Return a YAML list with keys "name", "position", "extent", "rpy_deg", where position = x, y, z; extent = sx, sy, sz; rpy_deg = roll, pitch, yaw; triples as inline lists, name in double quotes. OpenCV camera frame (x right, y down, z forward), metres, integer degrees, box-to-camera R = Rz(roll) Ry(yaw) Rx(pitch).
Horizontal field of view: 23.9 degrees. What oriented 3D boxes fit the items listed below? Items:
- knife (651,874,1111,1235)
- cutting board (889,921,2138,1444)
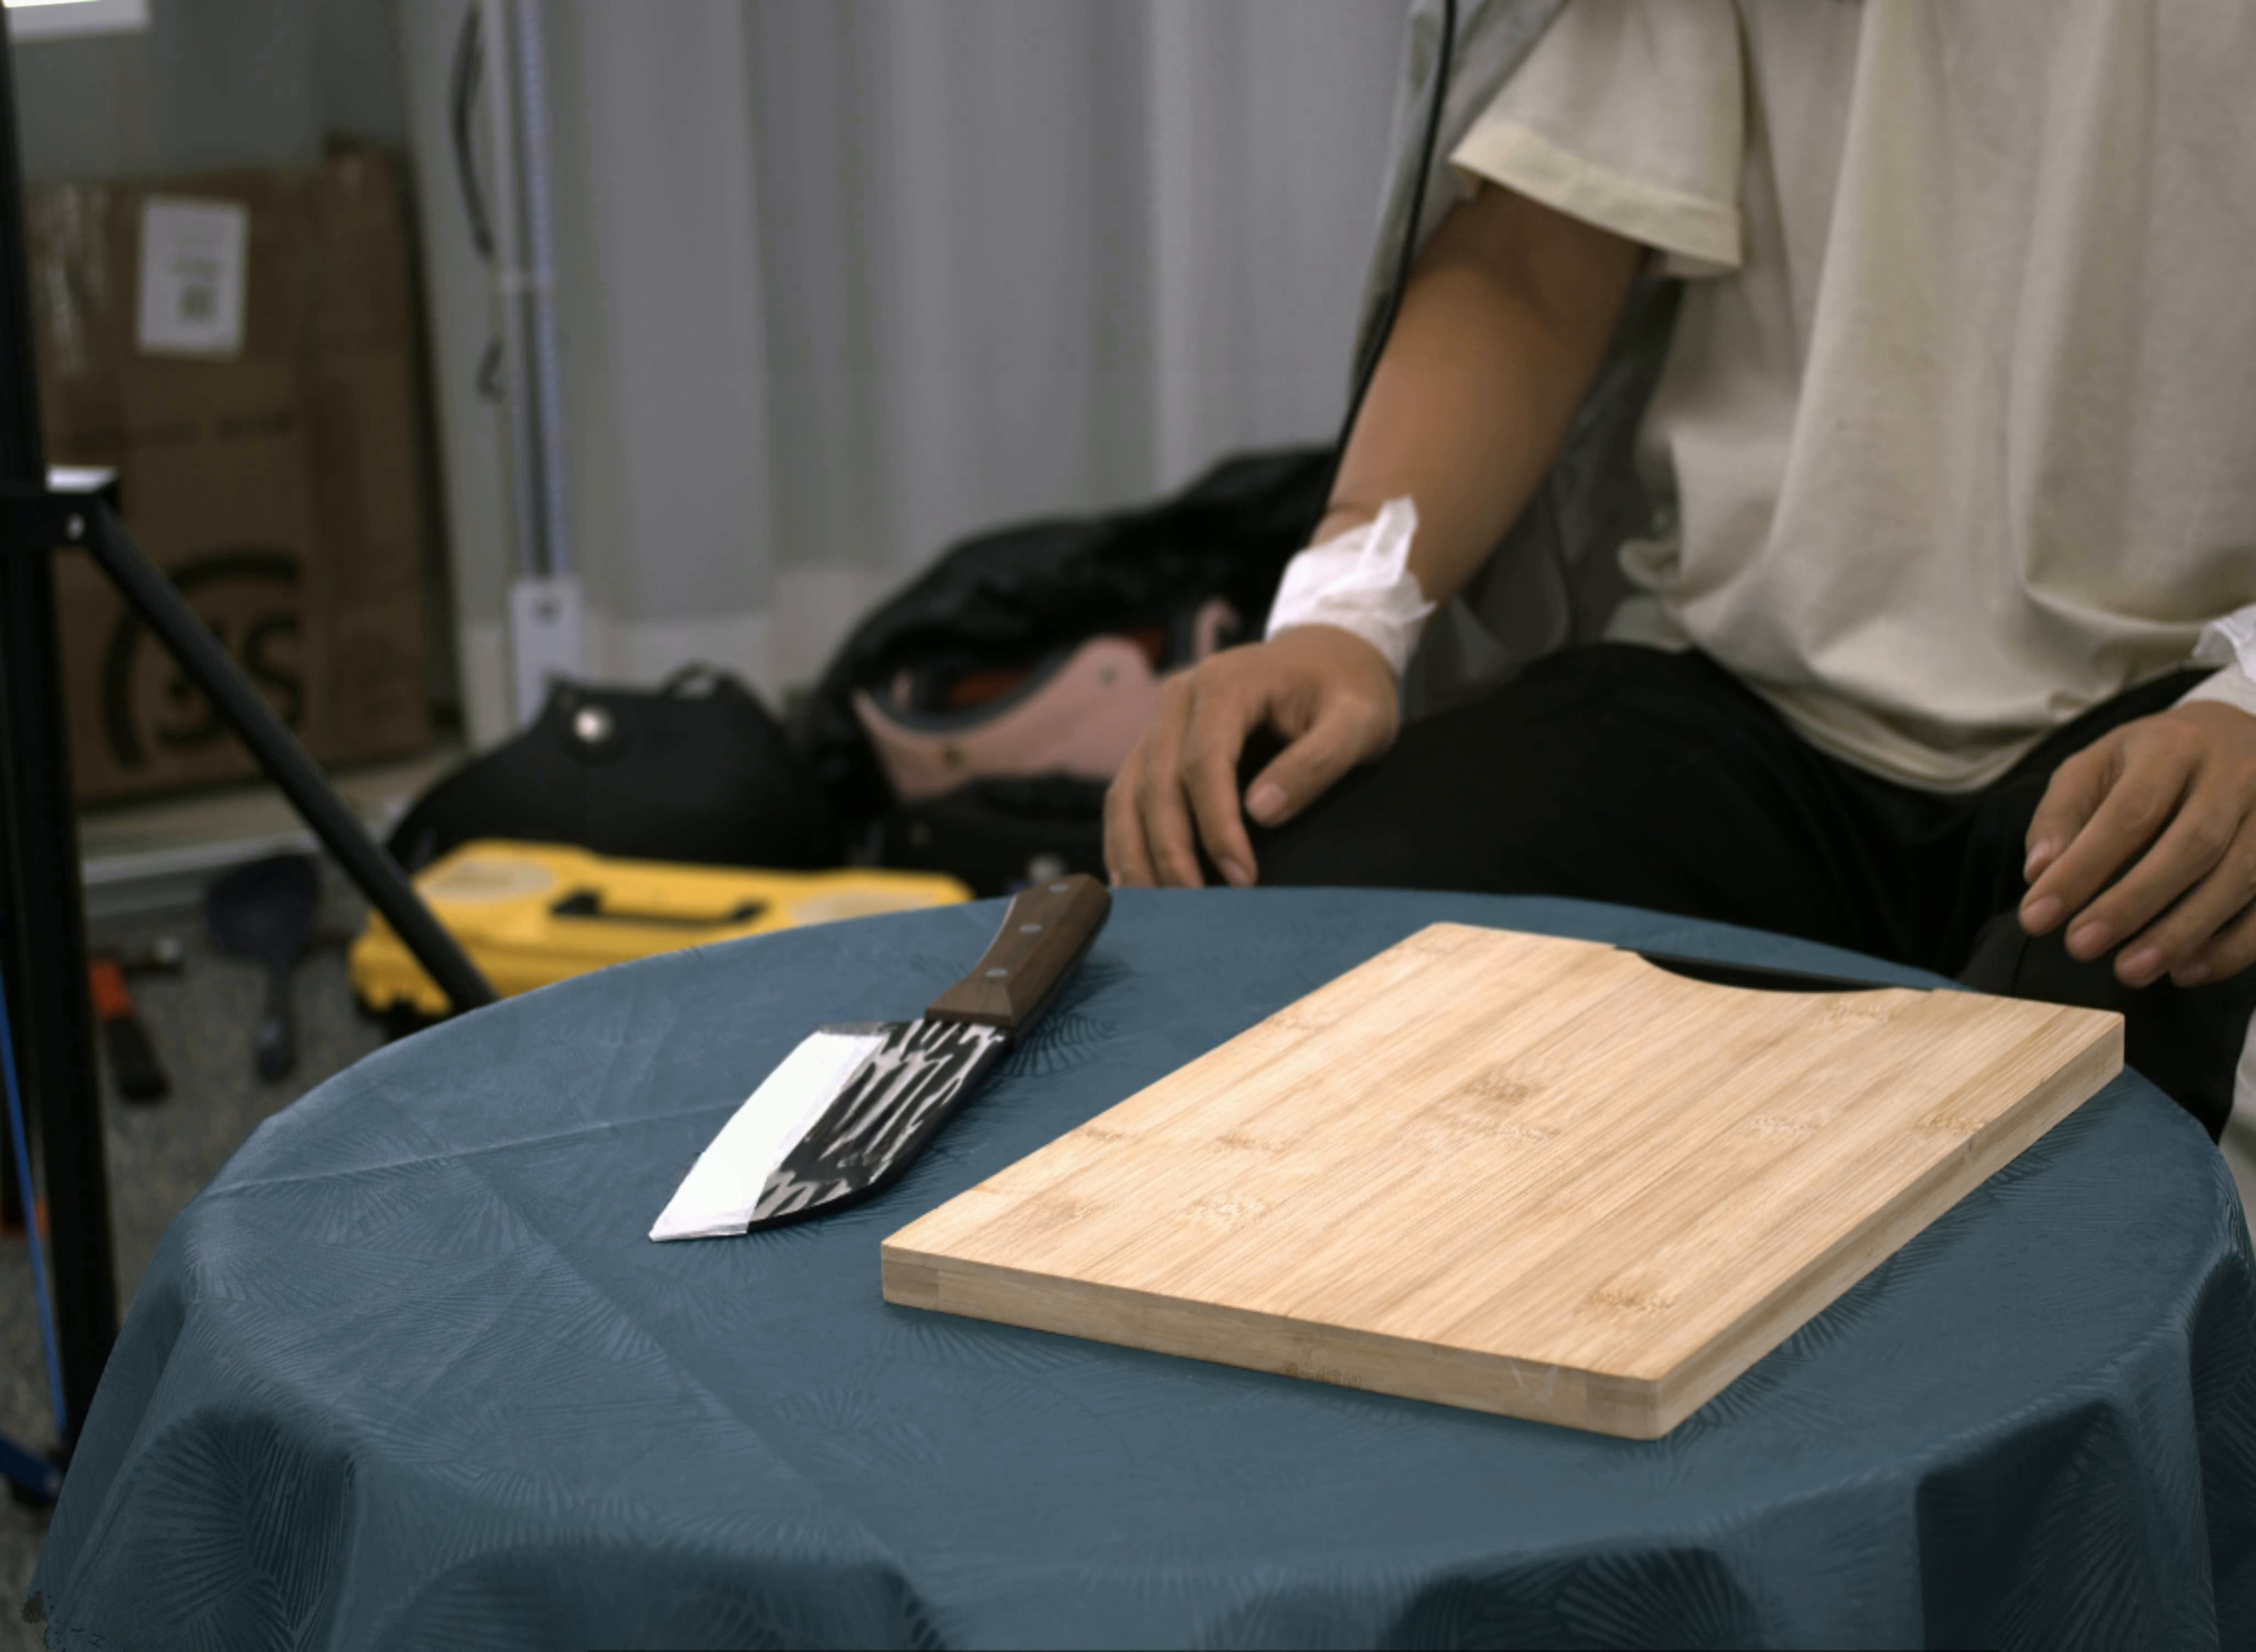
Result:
- name: "knife"
  position: [-0.073, 0.072, 1.662]
  extent: [0.069, 0.024, 0.297]
  rpy_deg: [0, 19, 18]
- name: "cutting board"
  position: [0.122, 0.095, 1.553]
  extent: [0.255, 0.023, 0.342]
  rpy_deg: [7, 18, 30]
